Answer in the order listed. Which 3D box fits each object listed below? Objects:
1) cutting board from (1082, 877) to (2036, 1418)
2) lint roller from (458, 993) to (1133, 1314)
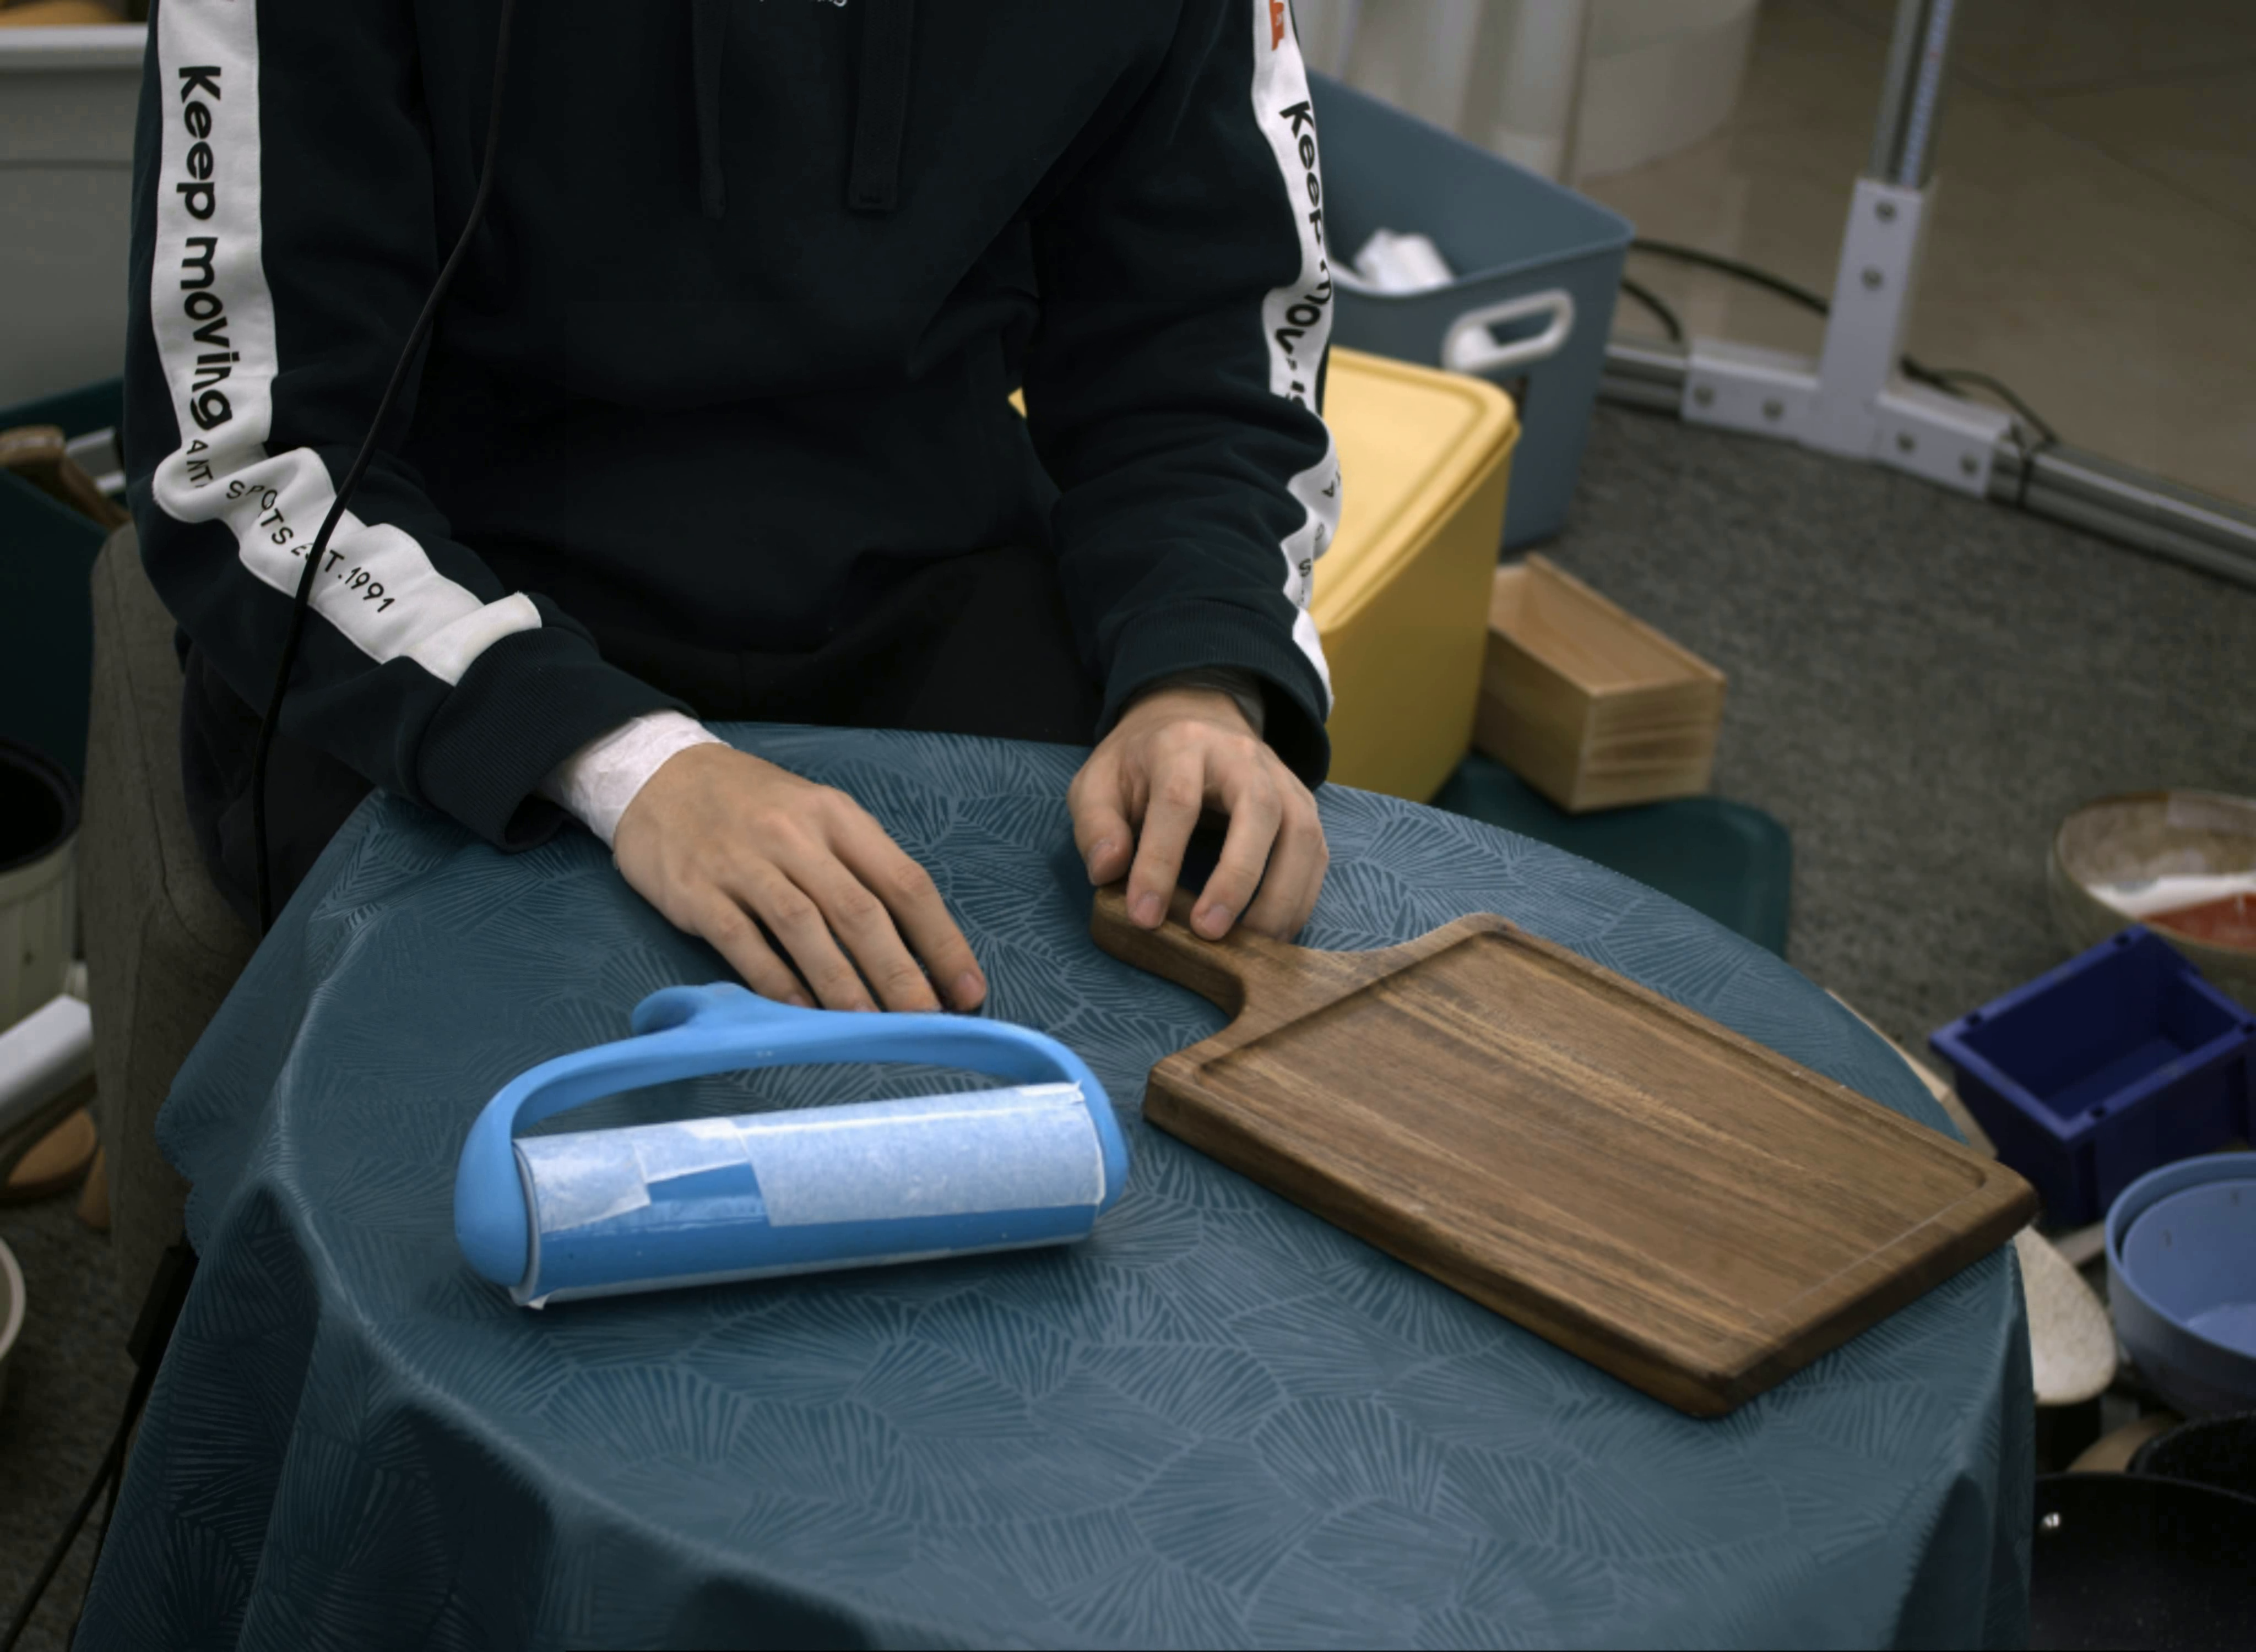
[{"bbox_3d":[0.122,0.093,1.862,0.354,0.023,0.200,26,32,34],"label":"cutting board"},{"bbox_3d":[-0.129,0.091,1.771,0.227,0.067,0.182,-8,31,-23],"label":"lint roller"}]
